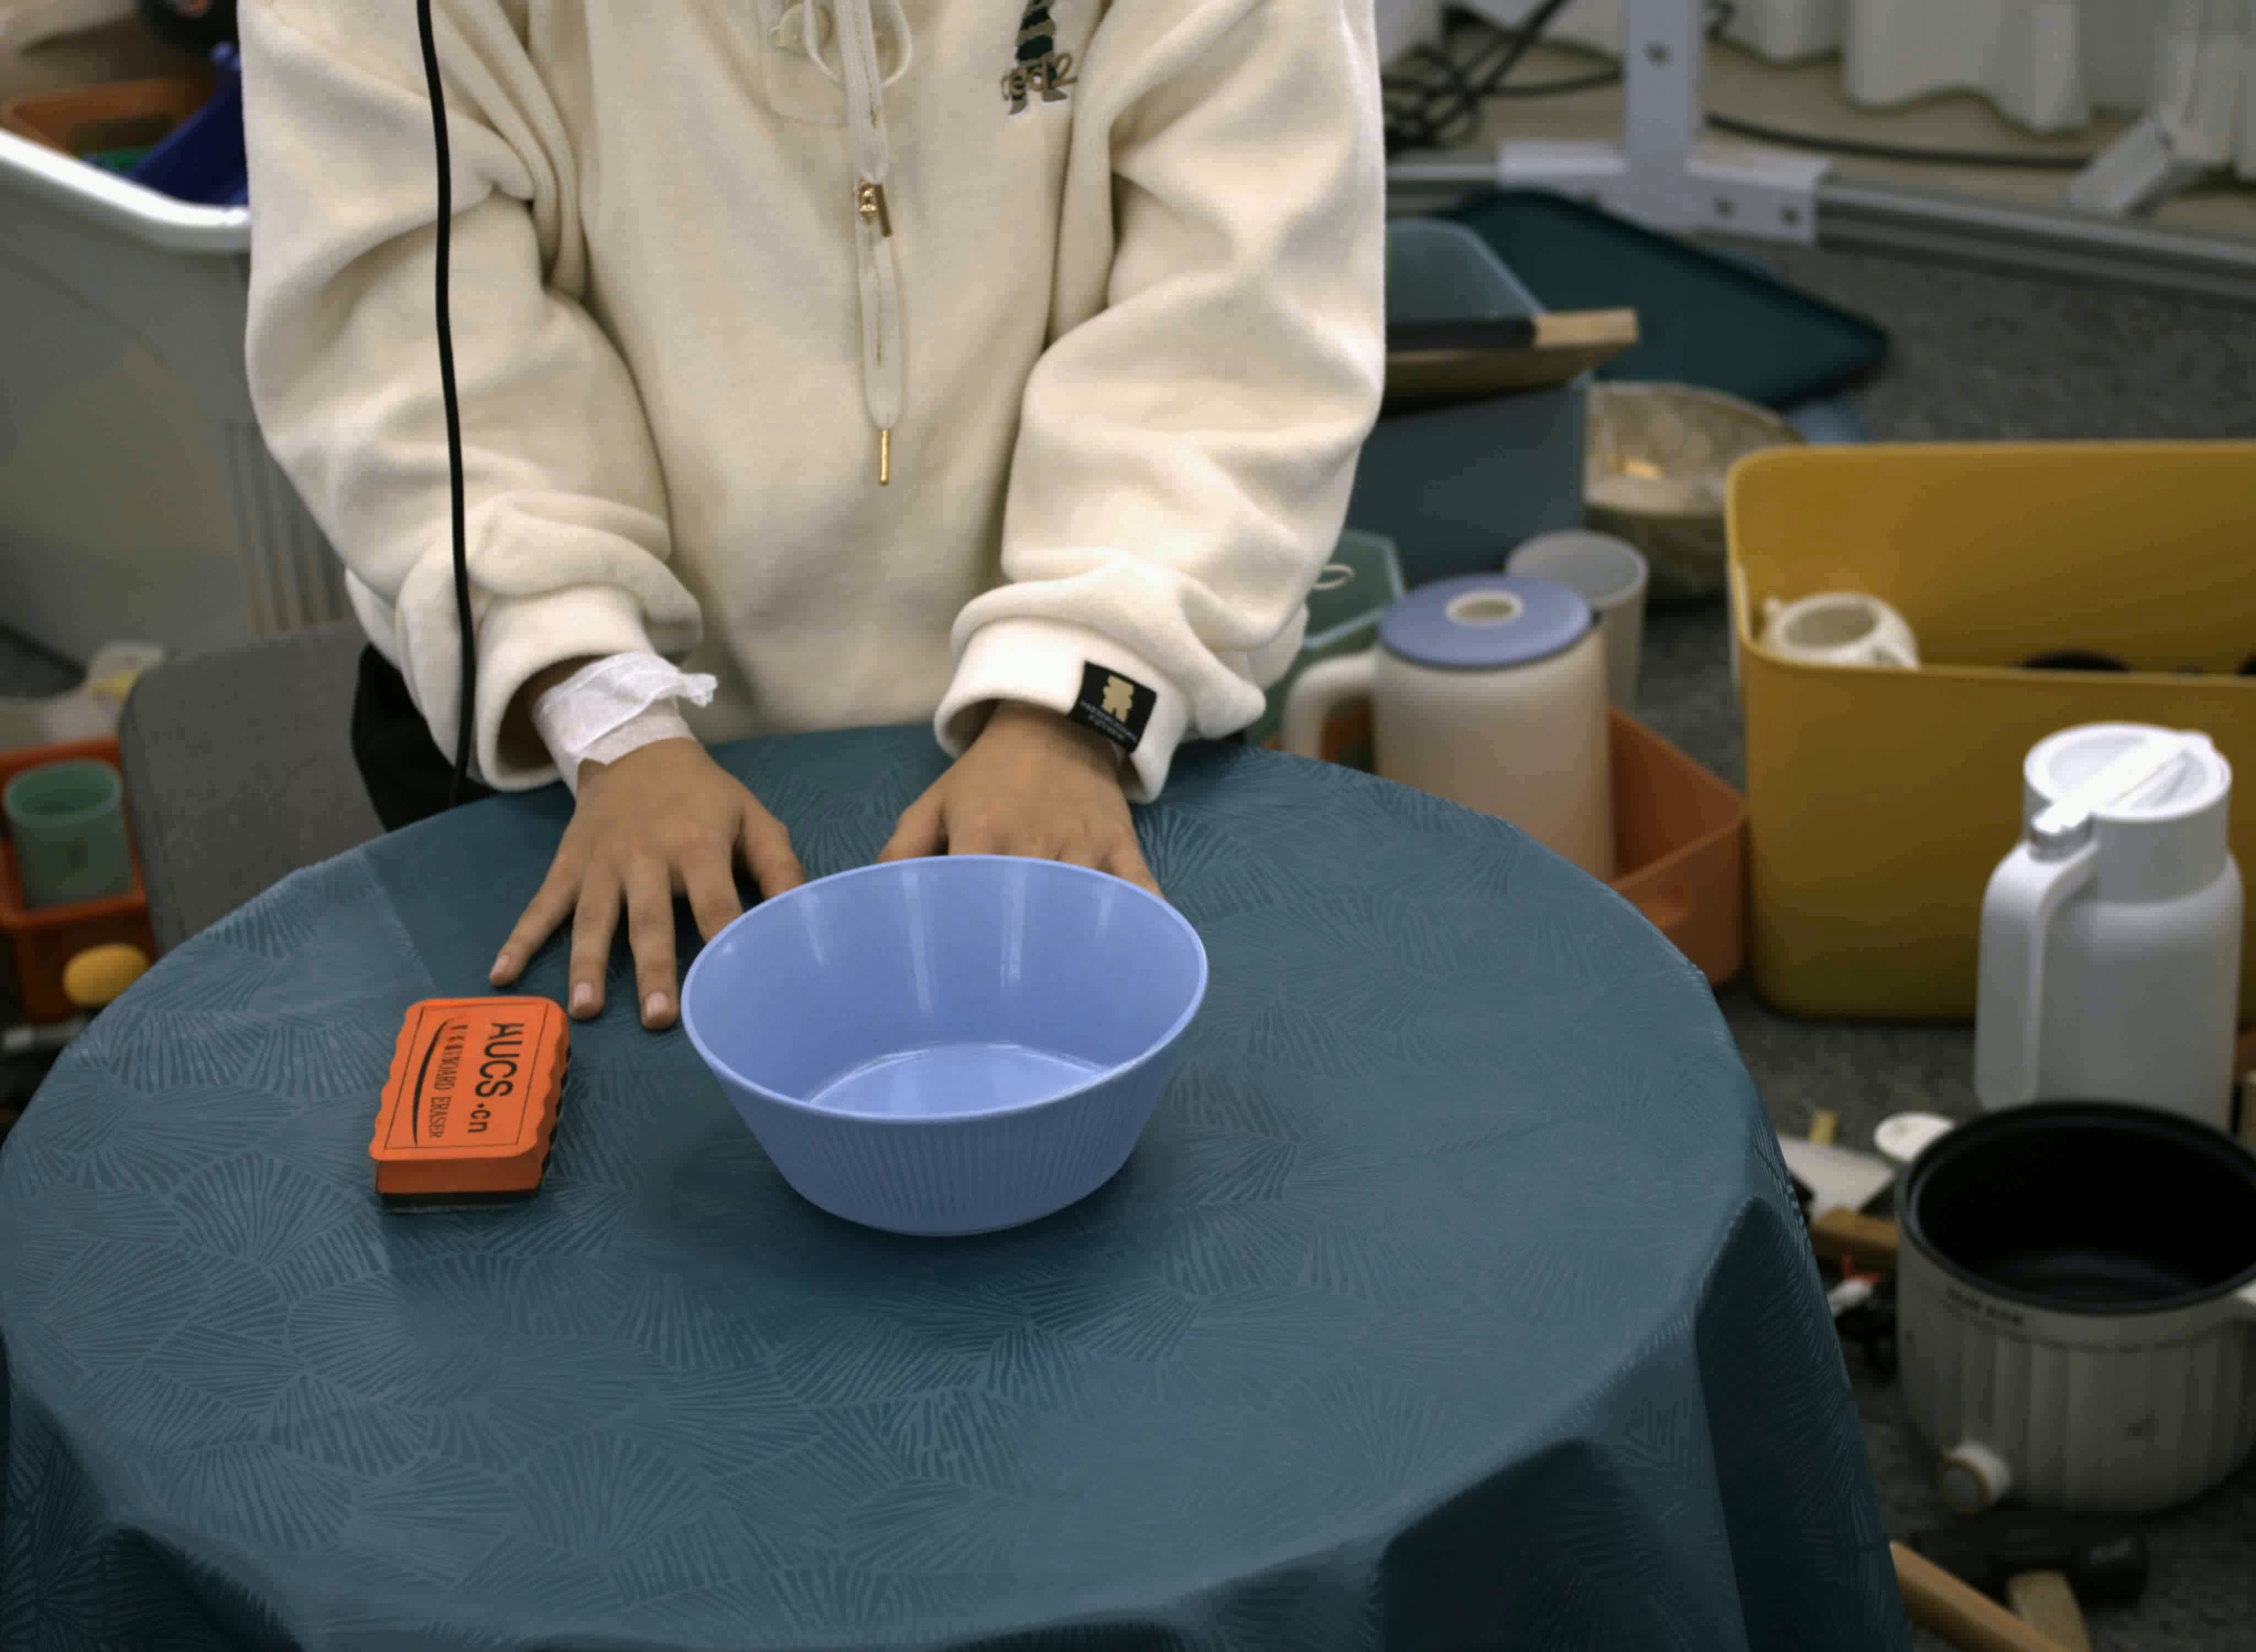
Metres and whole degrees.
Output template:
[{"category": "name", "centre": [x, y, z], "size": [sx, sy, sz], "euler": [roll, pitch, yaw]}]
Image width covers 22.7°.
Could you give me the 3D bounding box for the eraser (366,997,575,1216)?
[{"category": "eraser", "centre": [-0.223, 0.095, 1.910], "size": [0.058, 0.022, 0.110], "euler": [-3, 27, 4]}]

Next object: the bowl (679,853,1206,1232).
[{"category": "bowl", "centre": [-0.060, 0.078, 1.874], "size": [0.175, 0.069, 0.179], "euler": [-2, 27, 2]}]
